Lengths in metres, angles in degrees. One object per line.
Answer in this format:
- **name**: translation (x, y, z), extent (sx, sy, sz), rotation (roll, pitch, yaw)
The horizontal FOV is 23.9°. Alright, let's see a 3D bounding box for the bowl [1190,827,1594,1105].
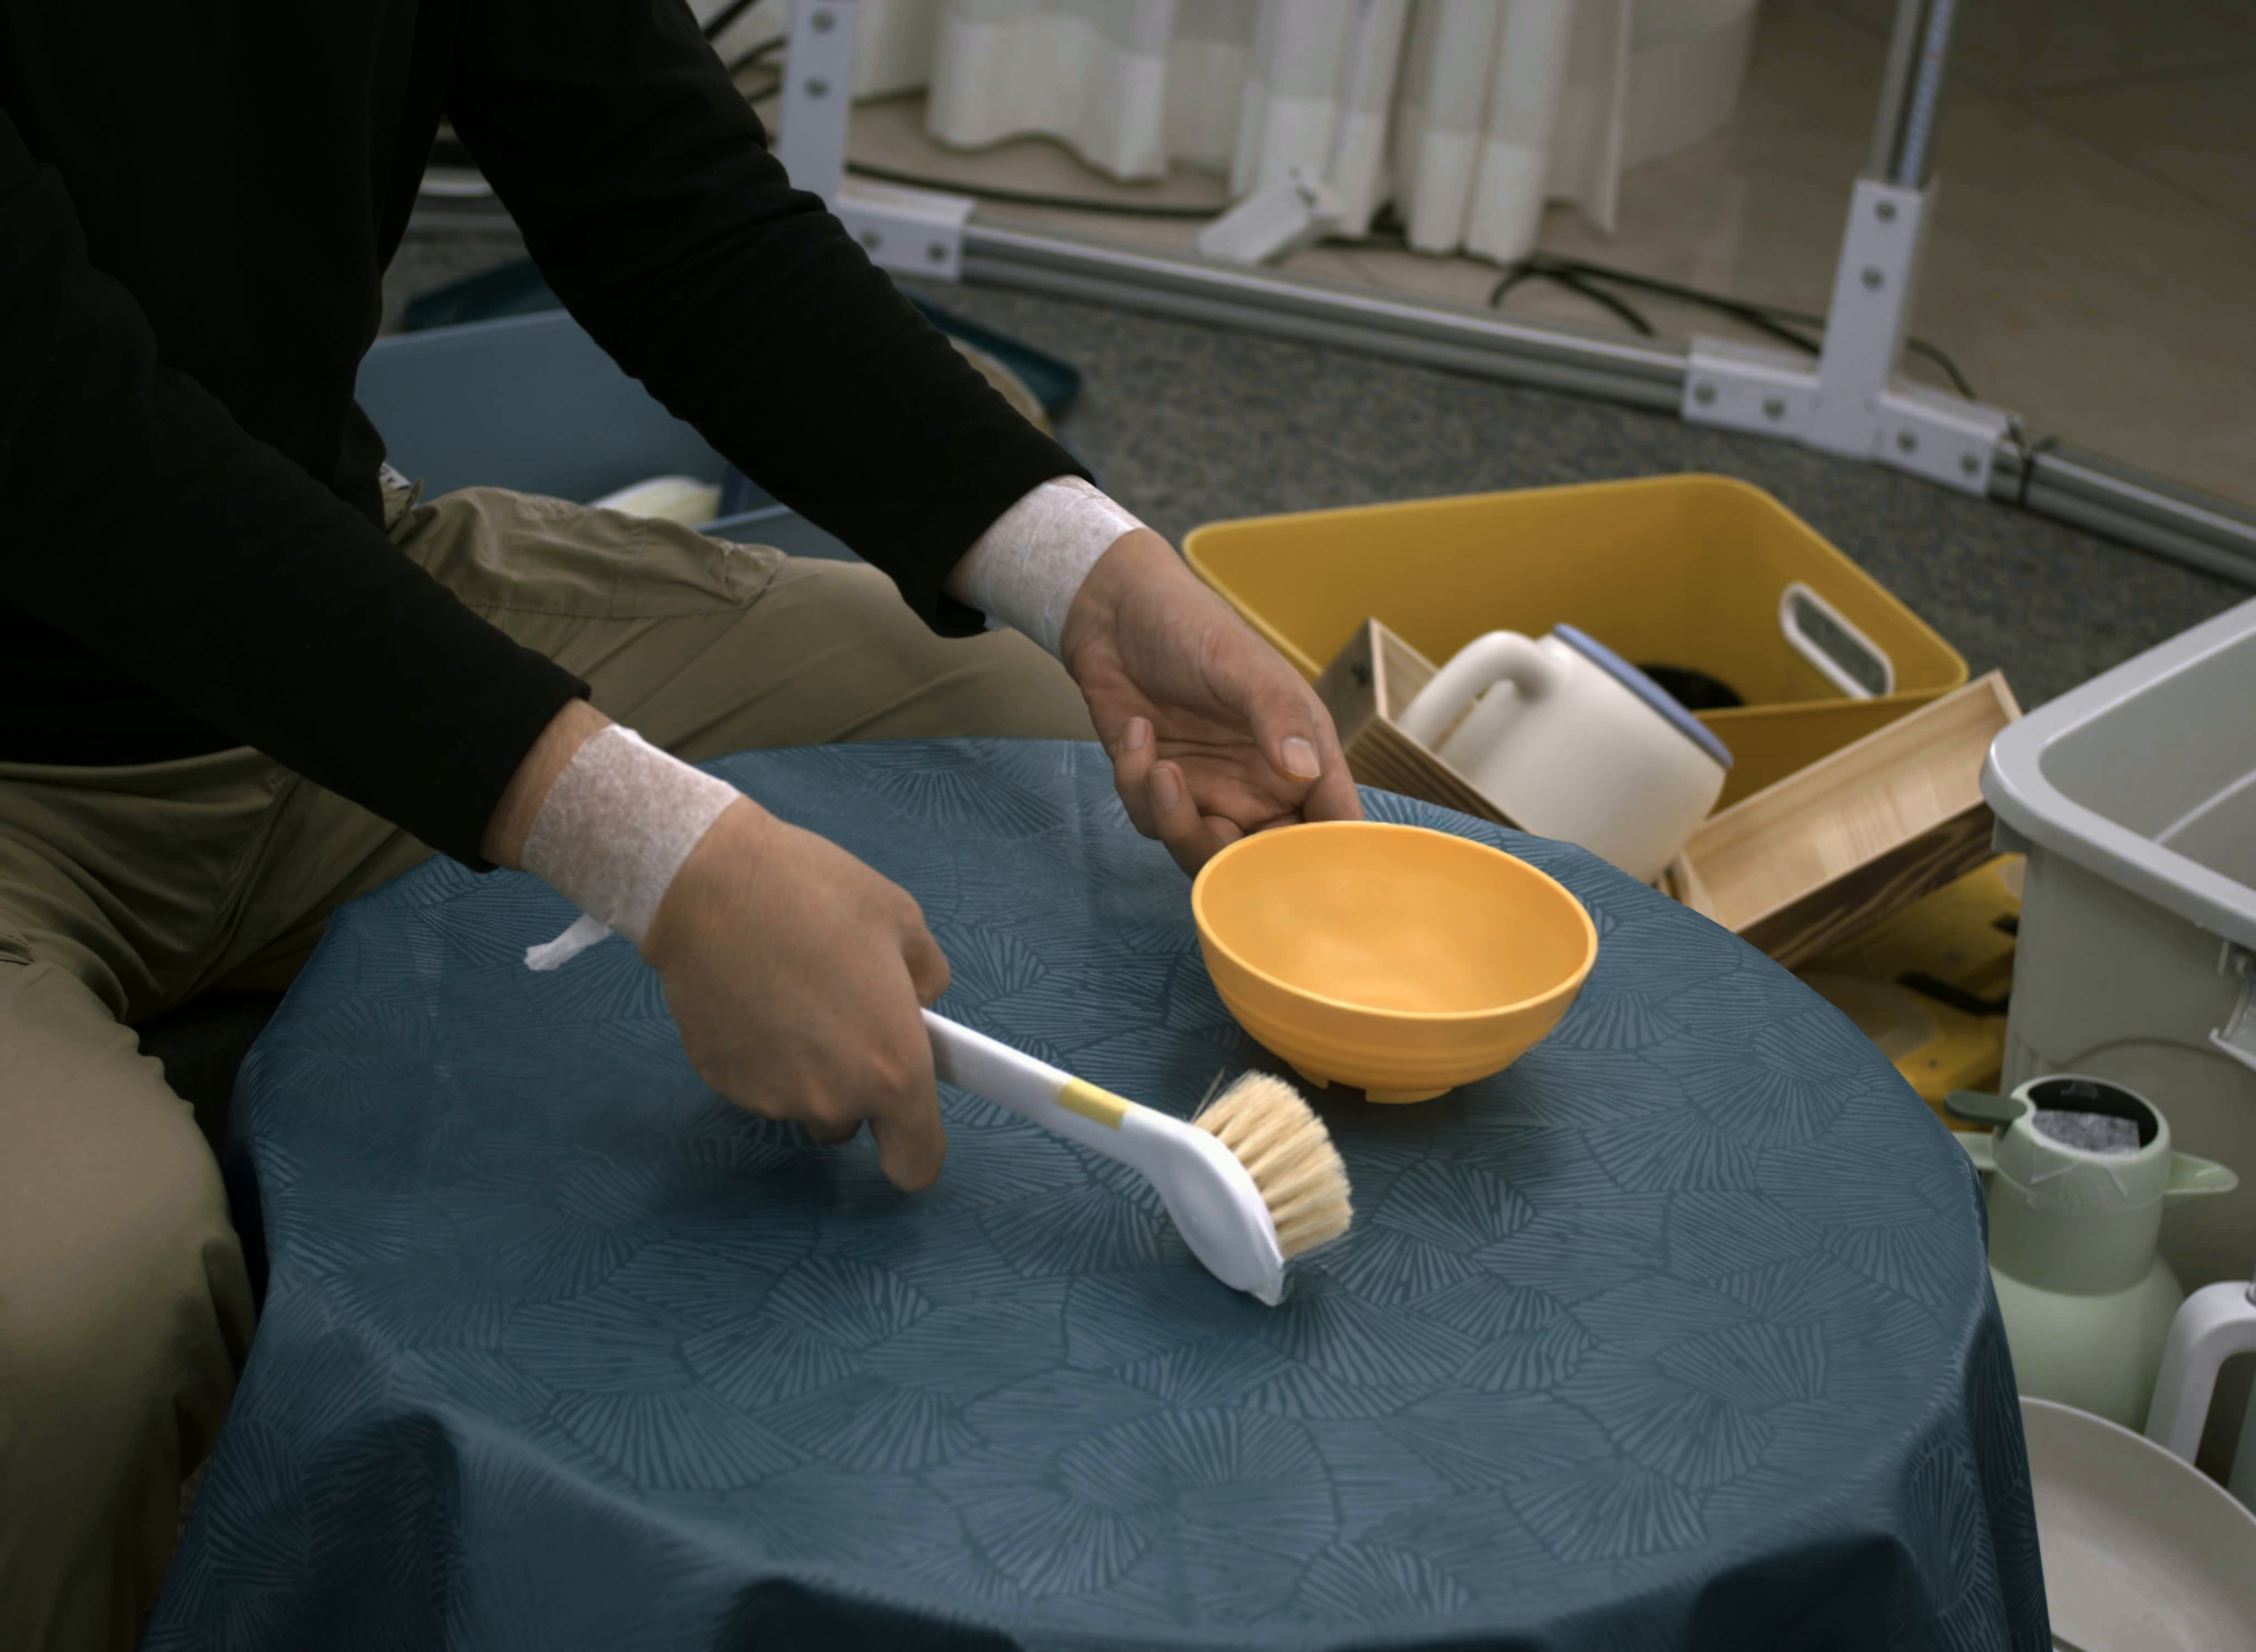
- **bowl**: translation (0.090, 0.058, 1.887), extent (0.145, 0.060, 0.146), rotation (5, 25, -3)

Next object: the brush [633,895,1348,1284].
- **brush**: translation (-0.043, 0.072, 1.779), extent (0.267, 0.068, 0.056), rotation (26, 48, 21)
